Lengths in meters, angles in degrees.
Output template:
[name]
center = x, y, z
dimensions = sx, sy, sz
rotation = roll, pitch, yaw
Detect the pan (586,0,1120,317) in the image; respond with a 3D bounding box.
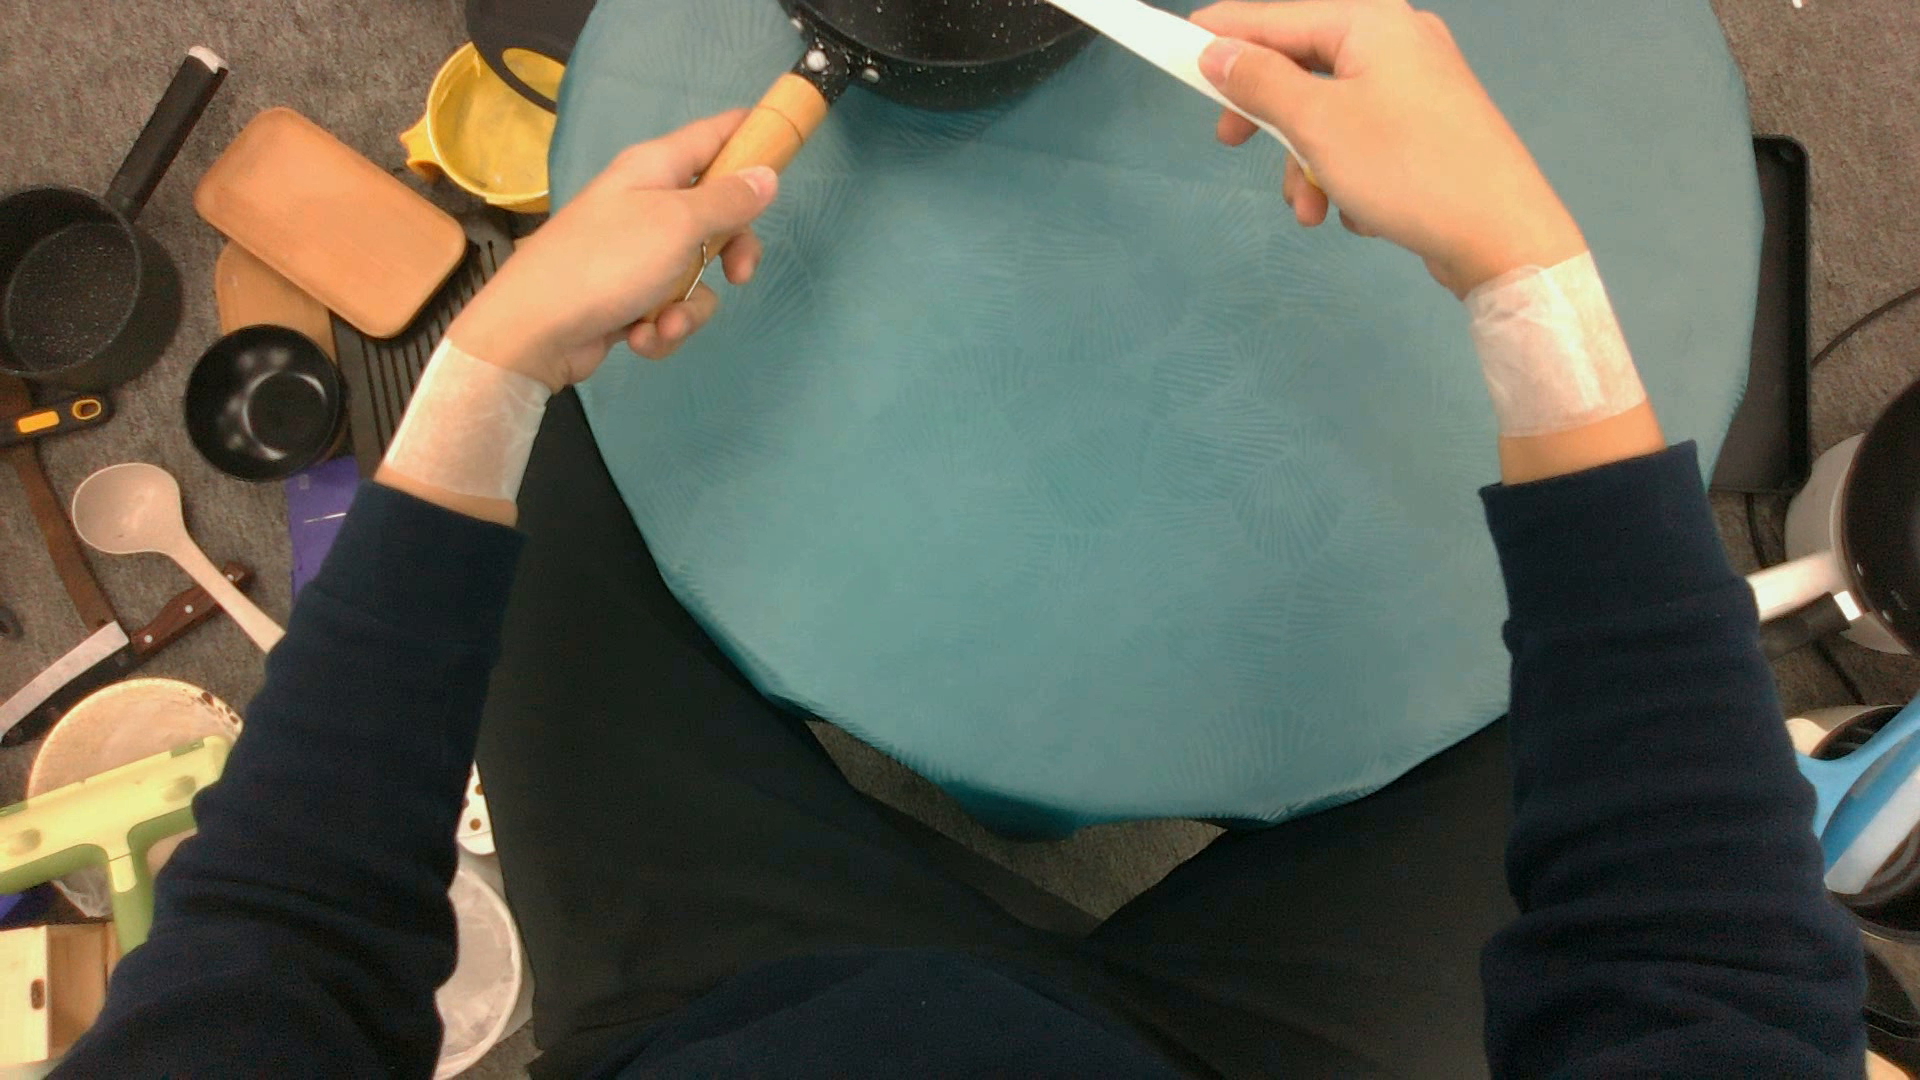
[pan]
center = -0.054, -0.231, 0.627
dimensions = 0.207, 0.108, 0.343
rotation = 31, 81, 0

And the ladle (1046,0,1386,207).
[ladle]
center = 0.054, -0.233, 0.548
dimensions = 0.293, 0.090, 0.070
rotation = 41, 79, 22
